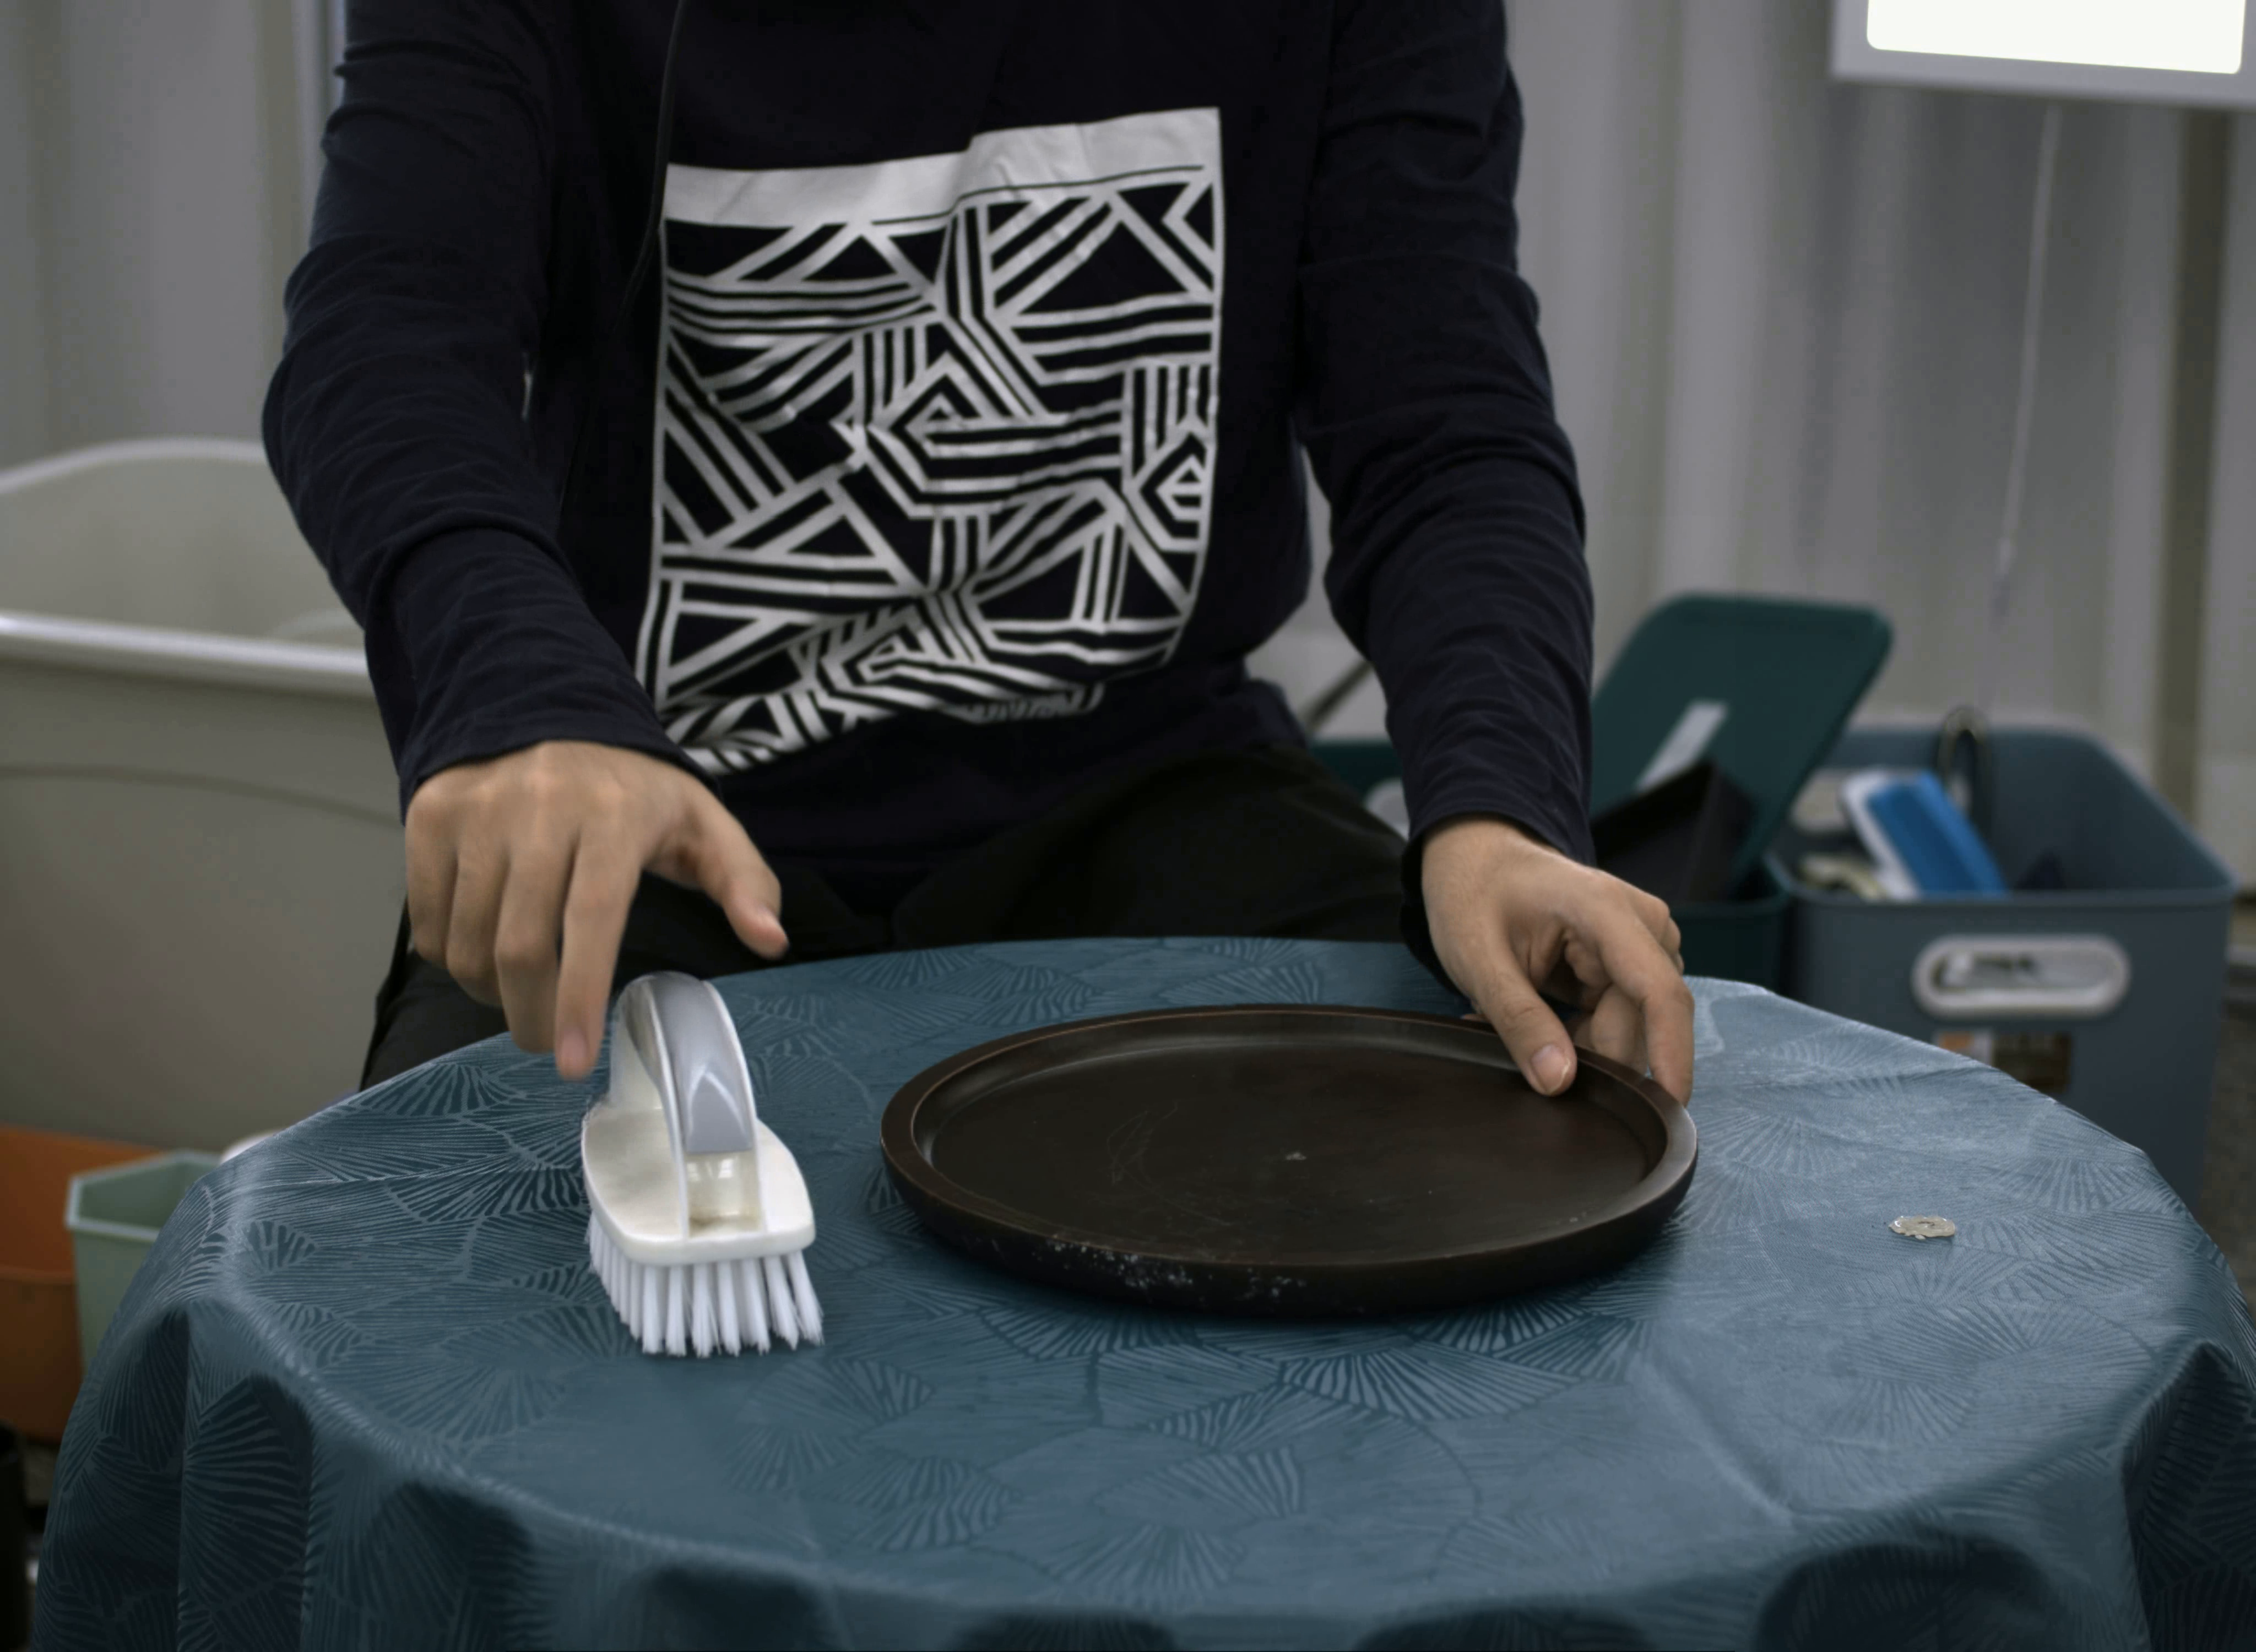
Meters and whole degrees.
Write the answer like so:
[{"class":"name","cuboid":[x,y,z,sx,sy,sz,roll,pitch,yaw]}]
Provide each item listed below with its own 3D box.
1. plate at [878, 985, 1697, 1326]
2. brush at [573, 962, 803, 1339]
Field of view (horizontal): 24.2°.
[{"class":"plate","cuboid":[0.049,0.102,1.624,0.254,0.029,0.253,1,17,0]},{"class":"brush","cuboid":[-0.135,0.085,1.550,0.061,0.095,0.174,-3,14,-13]}]
